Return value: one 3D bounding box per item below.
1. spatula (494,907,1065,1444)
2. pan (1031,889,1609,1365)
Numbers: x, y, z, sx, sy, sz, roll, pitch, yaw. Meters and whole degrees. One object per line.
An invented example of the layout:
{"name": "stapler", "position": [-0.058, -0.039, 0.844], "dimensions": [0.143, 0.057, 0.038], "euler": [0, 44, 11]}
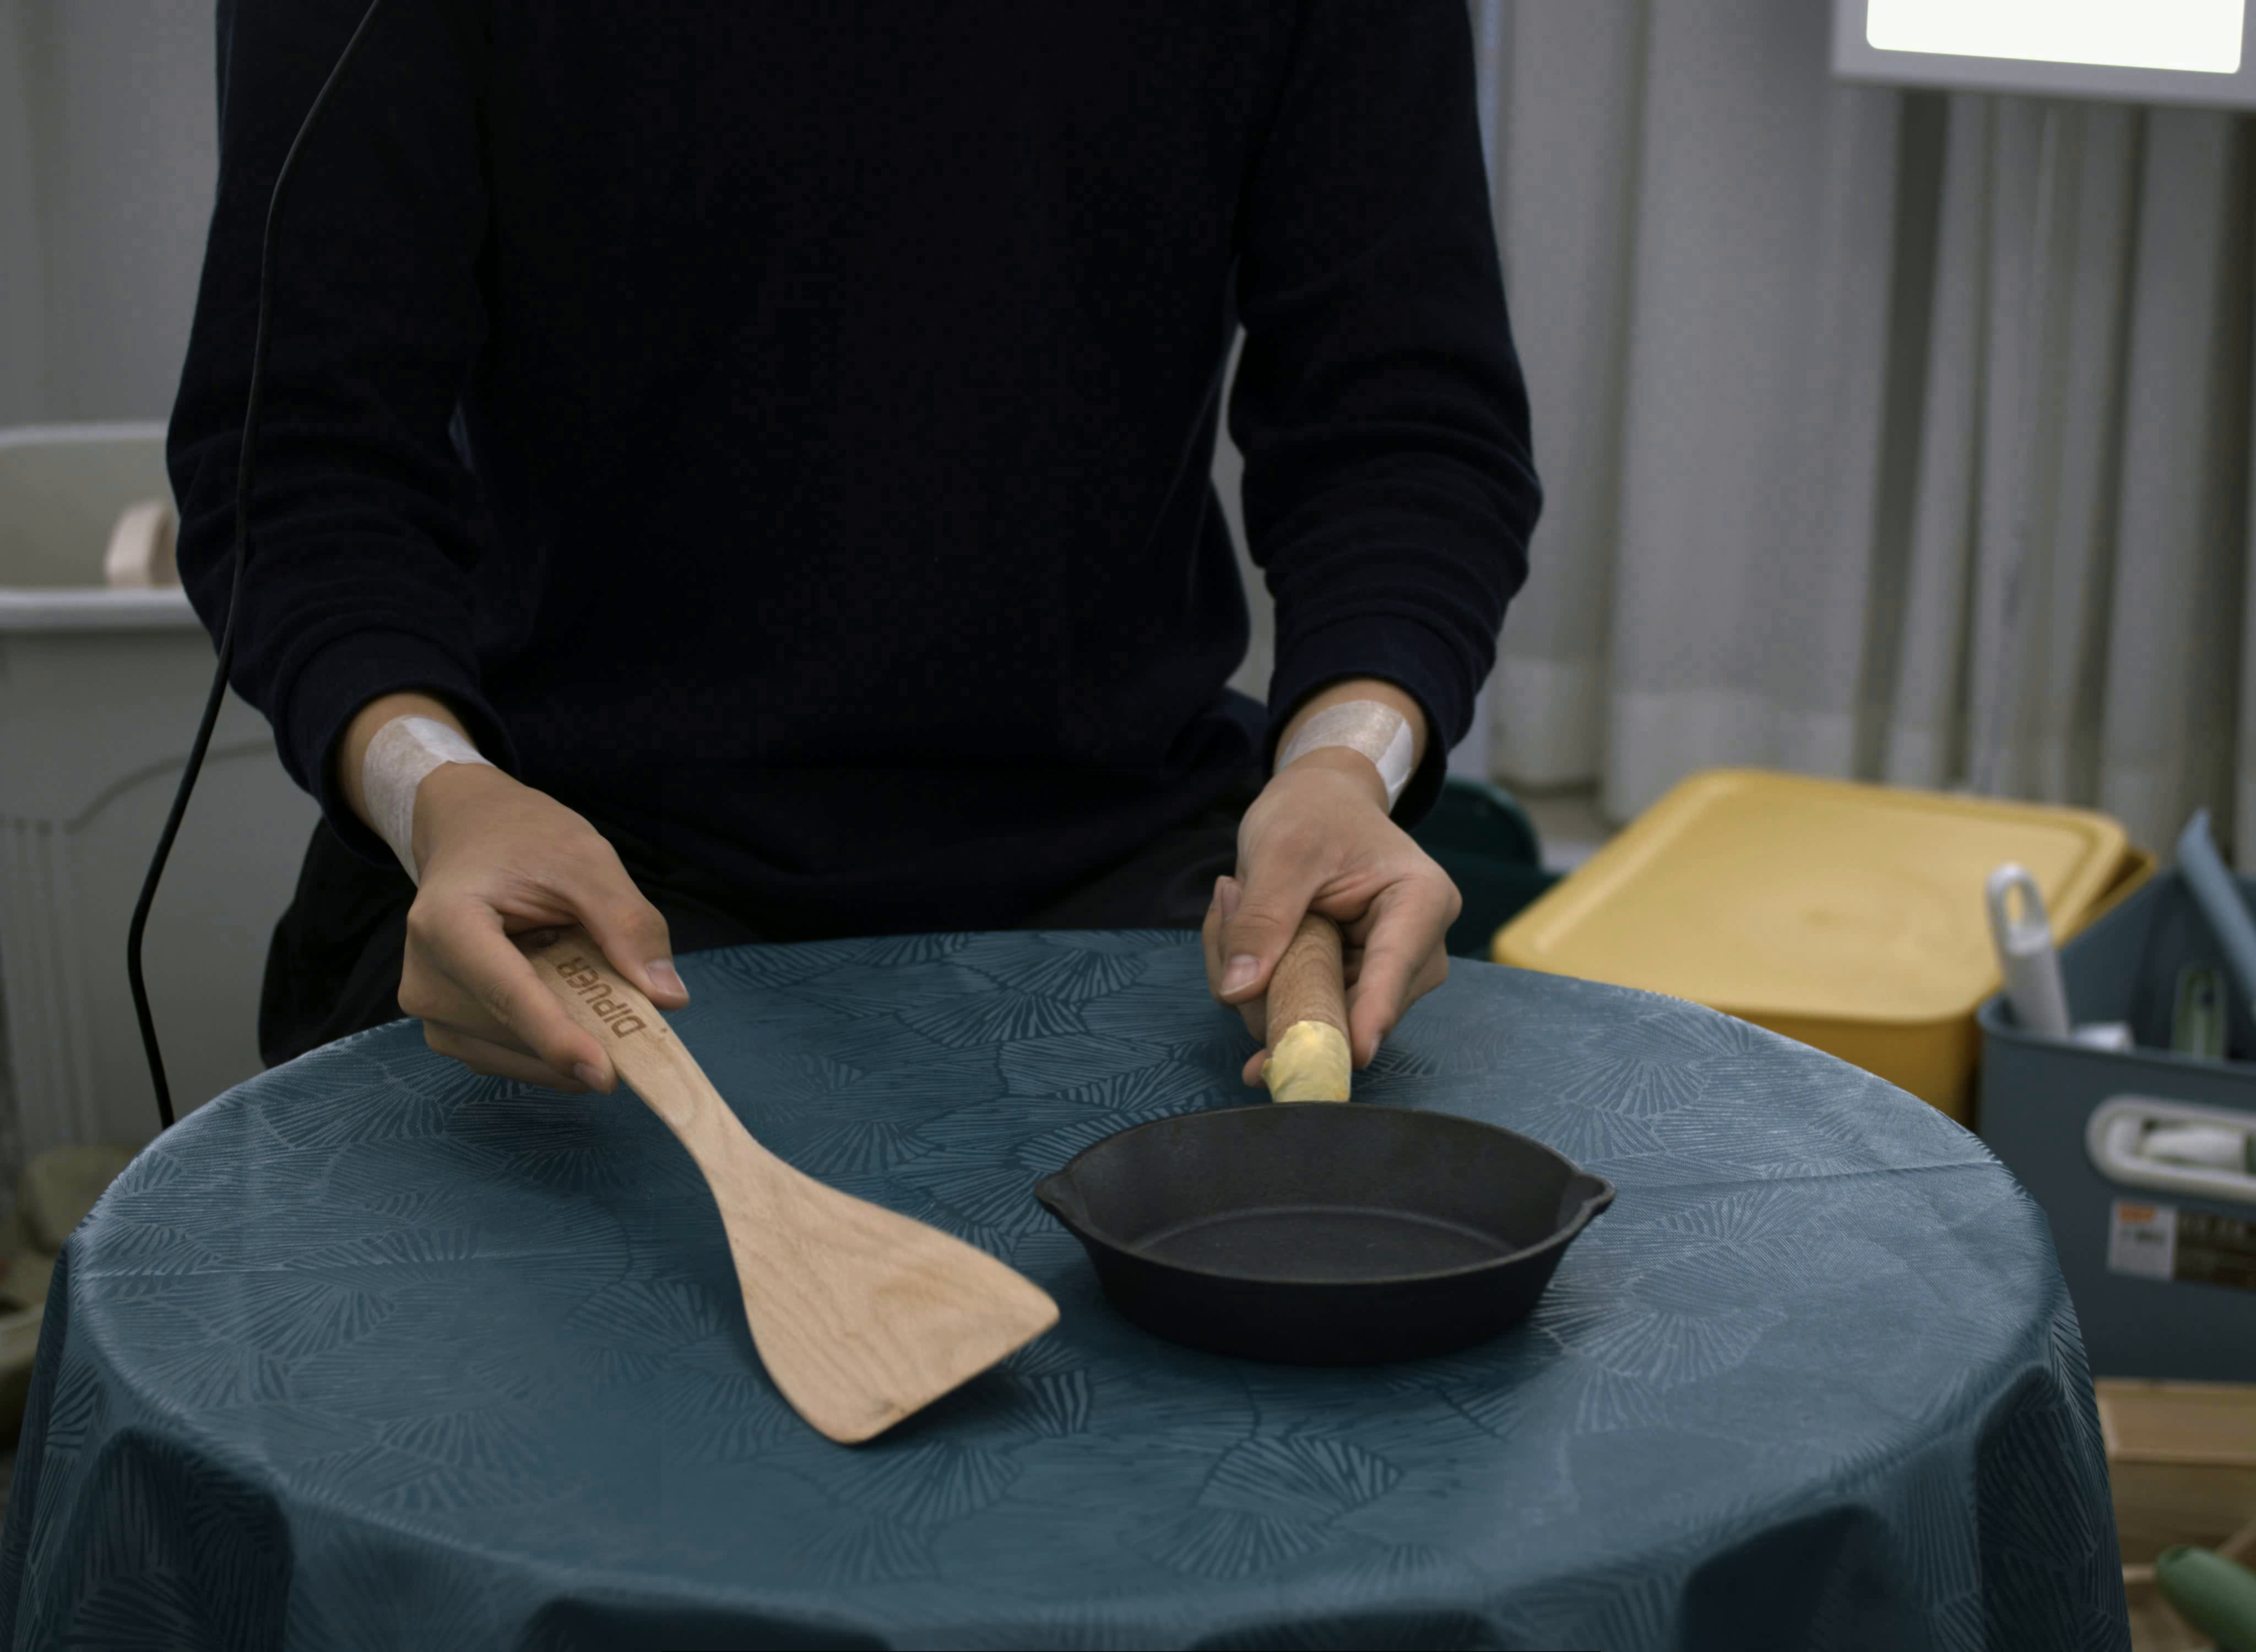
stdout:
{"name": "spatula", "position": [-0.118, 0.091, 1.554], "dimensions": [0.080, 0.017, 0.323], "euler": [-26, 35, -18]}
{"name": "pan", "position": [0.058, 0.089, 1.615], "dimensions": [0.168, 0.050, 0.322], "euler": [1, 17, 2]}
